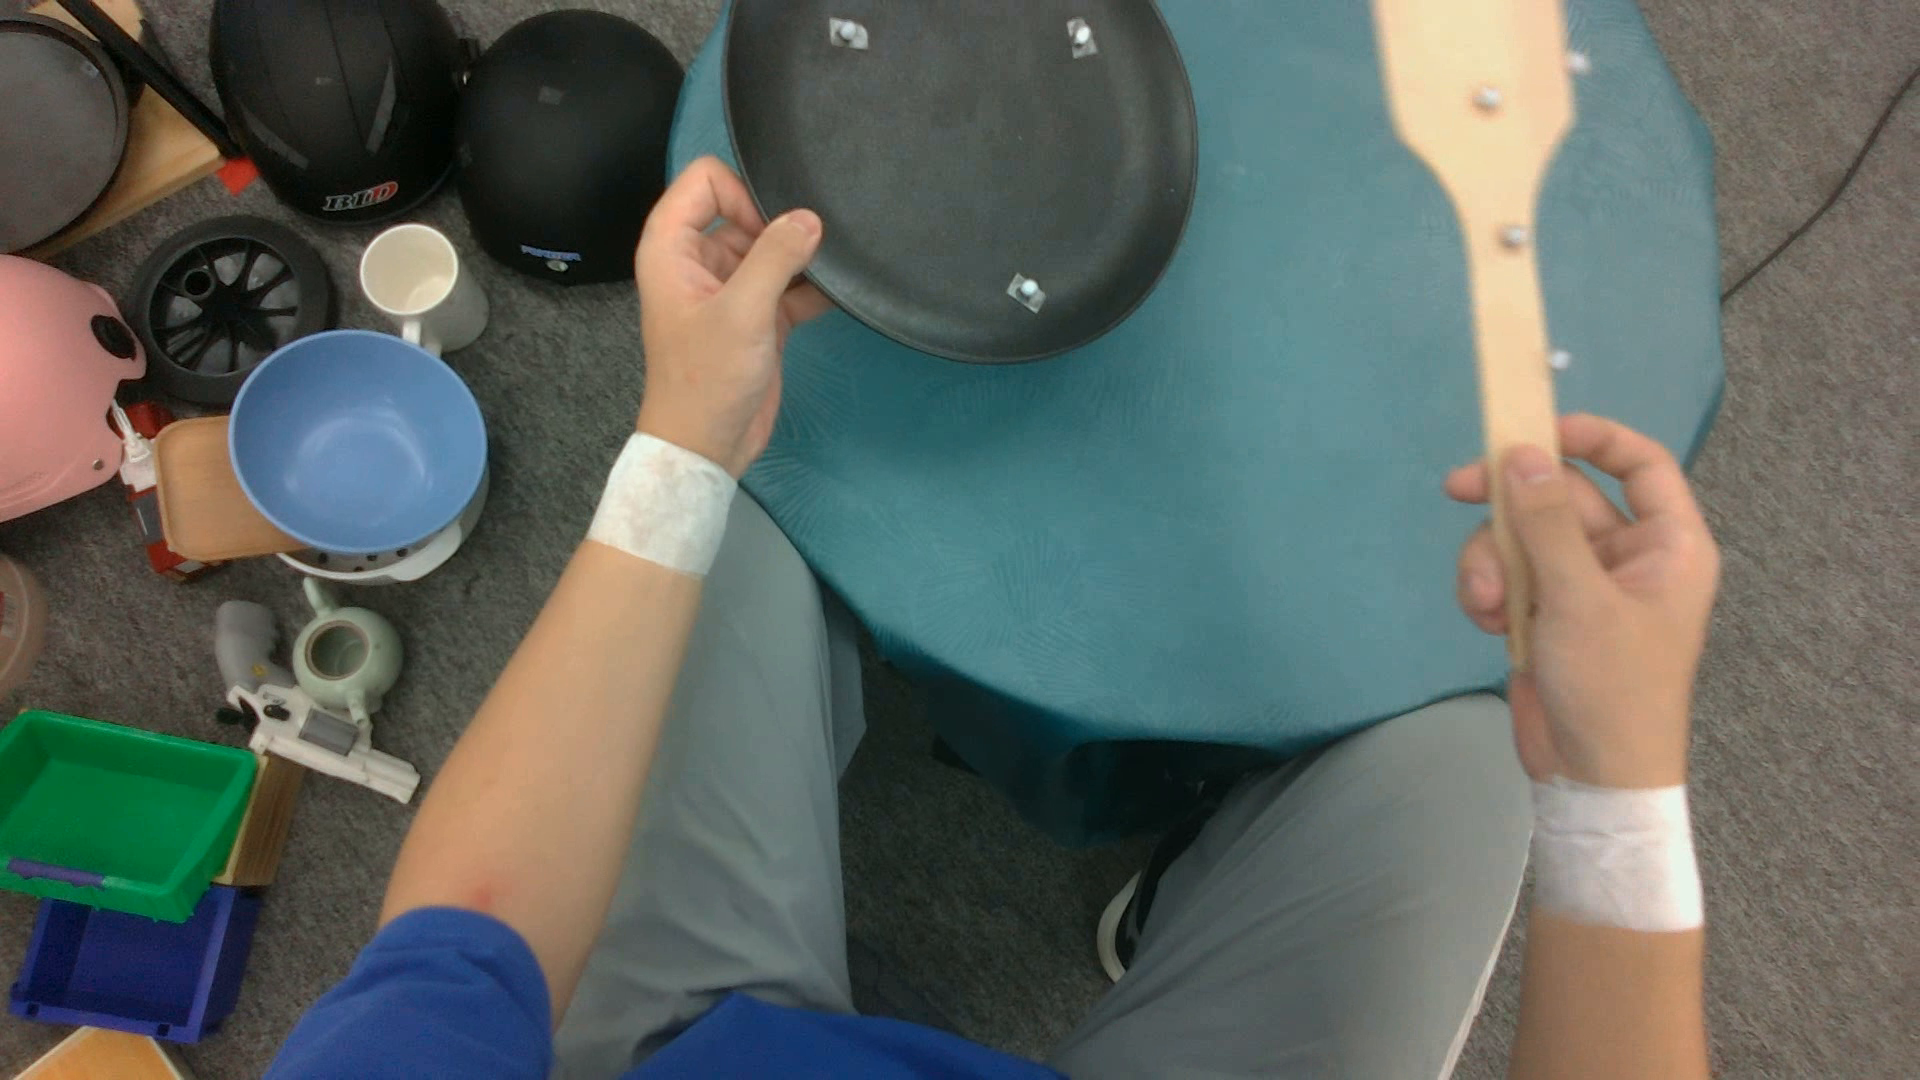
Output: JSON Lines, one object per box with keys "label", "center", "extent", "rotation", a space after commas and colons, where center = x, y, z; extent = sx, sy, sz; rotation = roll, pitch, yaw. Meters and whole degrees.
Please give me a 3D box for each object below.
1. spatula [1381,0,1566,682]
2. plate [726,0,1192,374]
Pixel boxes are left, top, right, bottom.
{"label": "spatula", "center": [0.215, -0.090, 0.550], "extent": [0.072, 0.010, 0.293], "rotation": [-5, 89, -1]}
{"label": "plate", "center": [0.003, -0.200, 0.677], "extent": [0.245, 0.023, 0.244], "rotation": [3, 82, -22]}
